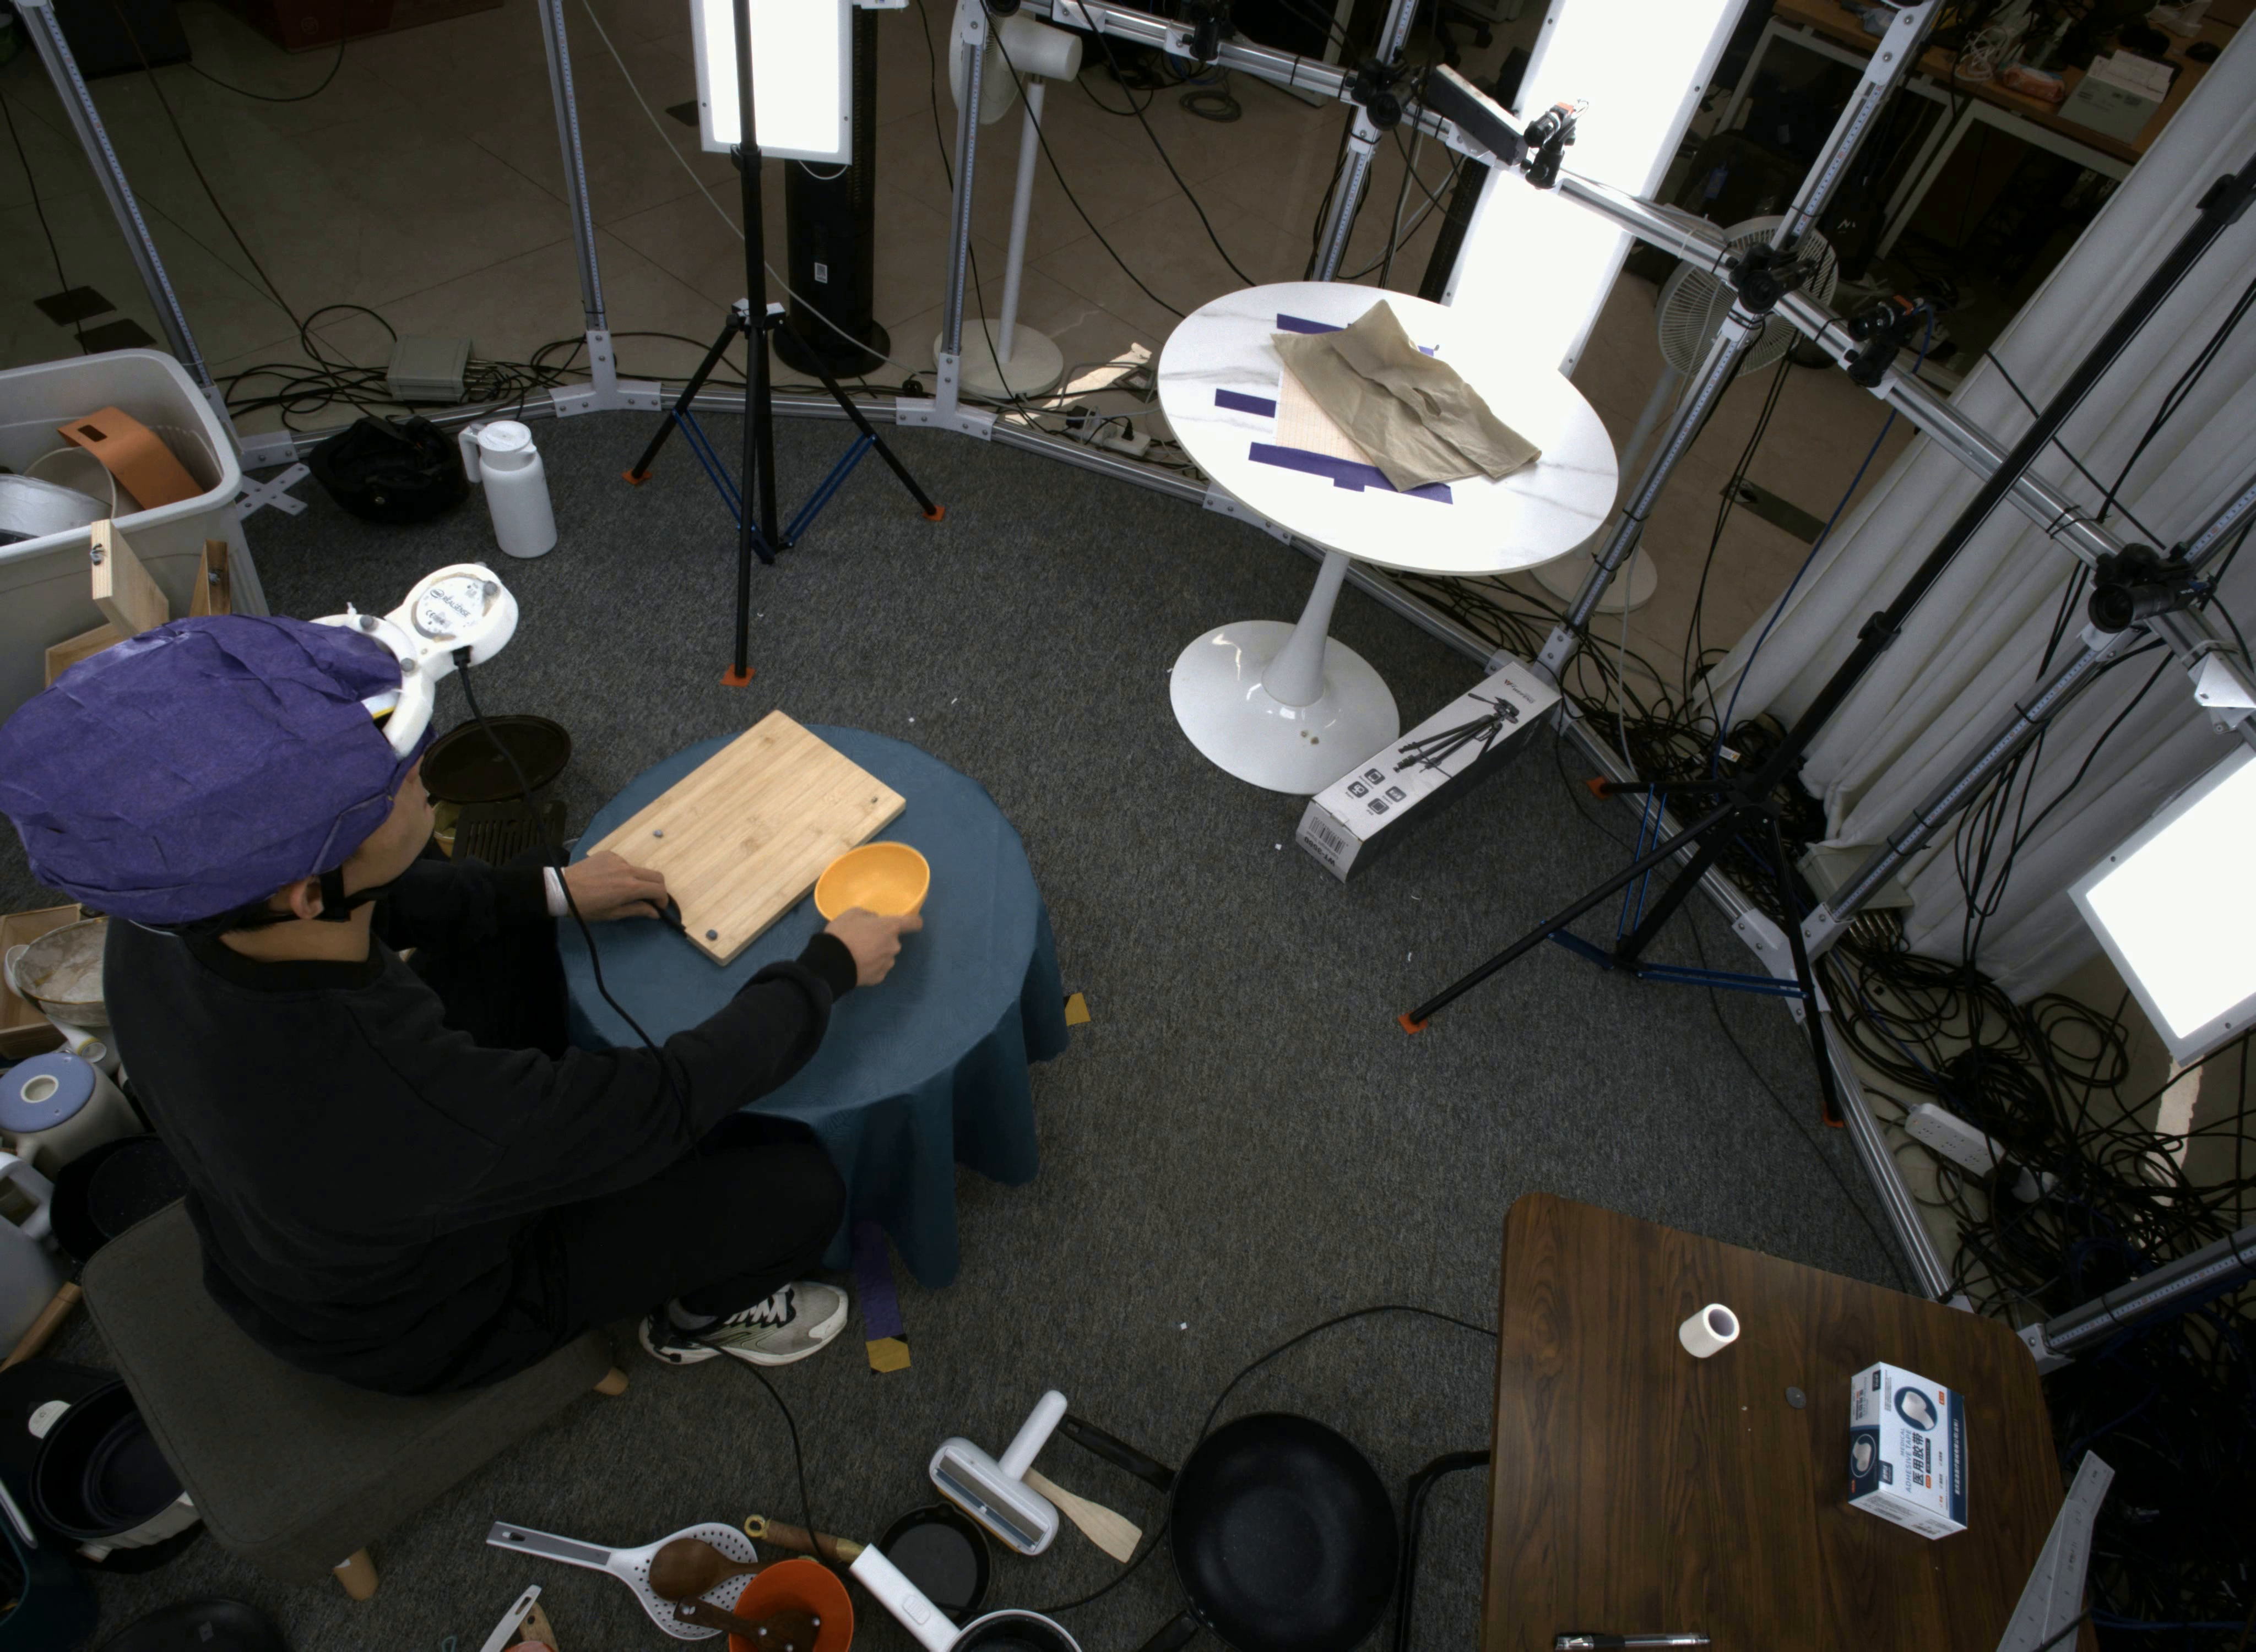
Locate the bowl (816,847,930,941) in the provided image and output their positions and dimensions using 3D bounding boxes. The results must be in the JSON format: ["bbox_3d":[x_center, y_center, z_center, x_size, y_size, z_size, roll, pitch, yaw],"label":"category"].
[{"bbox_3d":[-0.312,0.095,1.625,0.143,0.062,0.142,-3,44,5],"label":"bowl"}]

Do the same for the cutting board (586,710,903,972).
[{"bbox_3d":[-0.497,0.007,1.694,0.246,0.024,0.348,33,53,12],"label":"cutting board"}]
